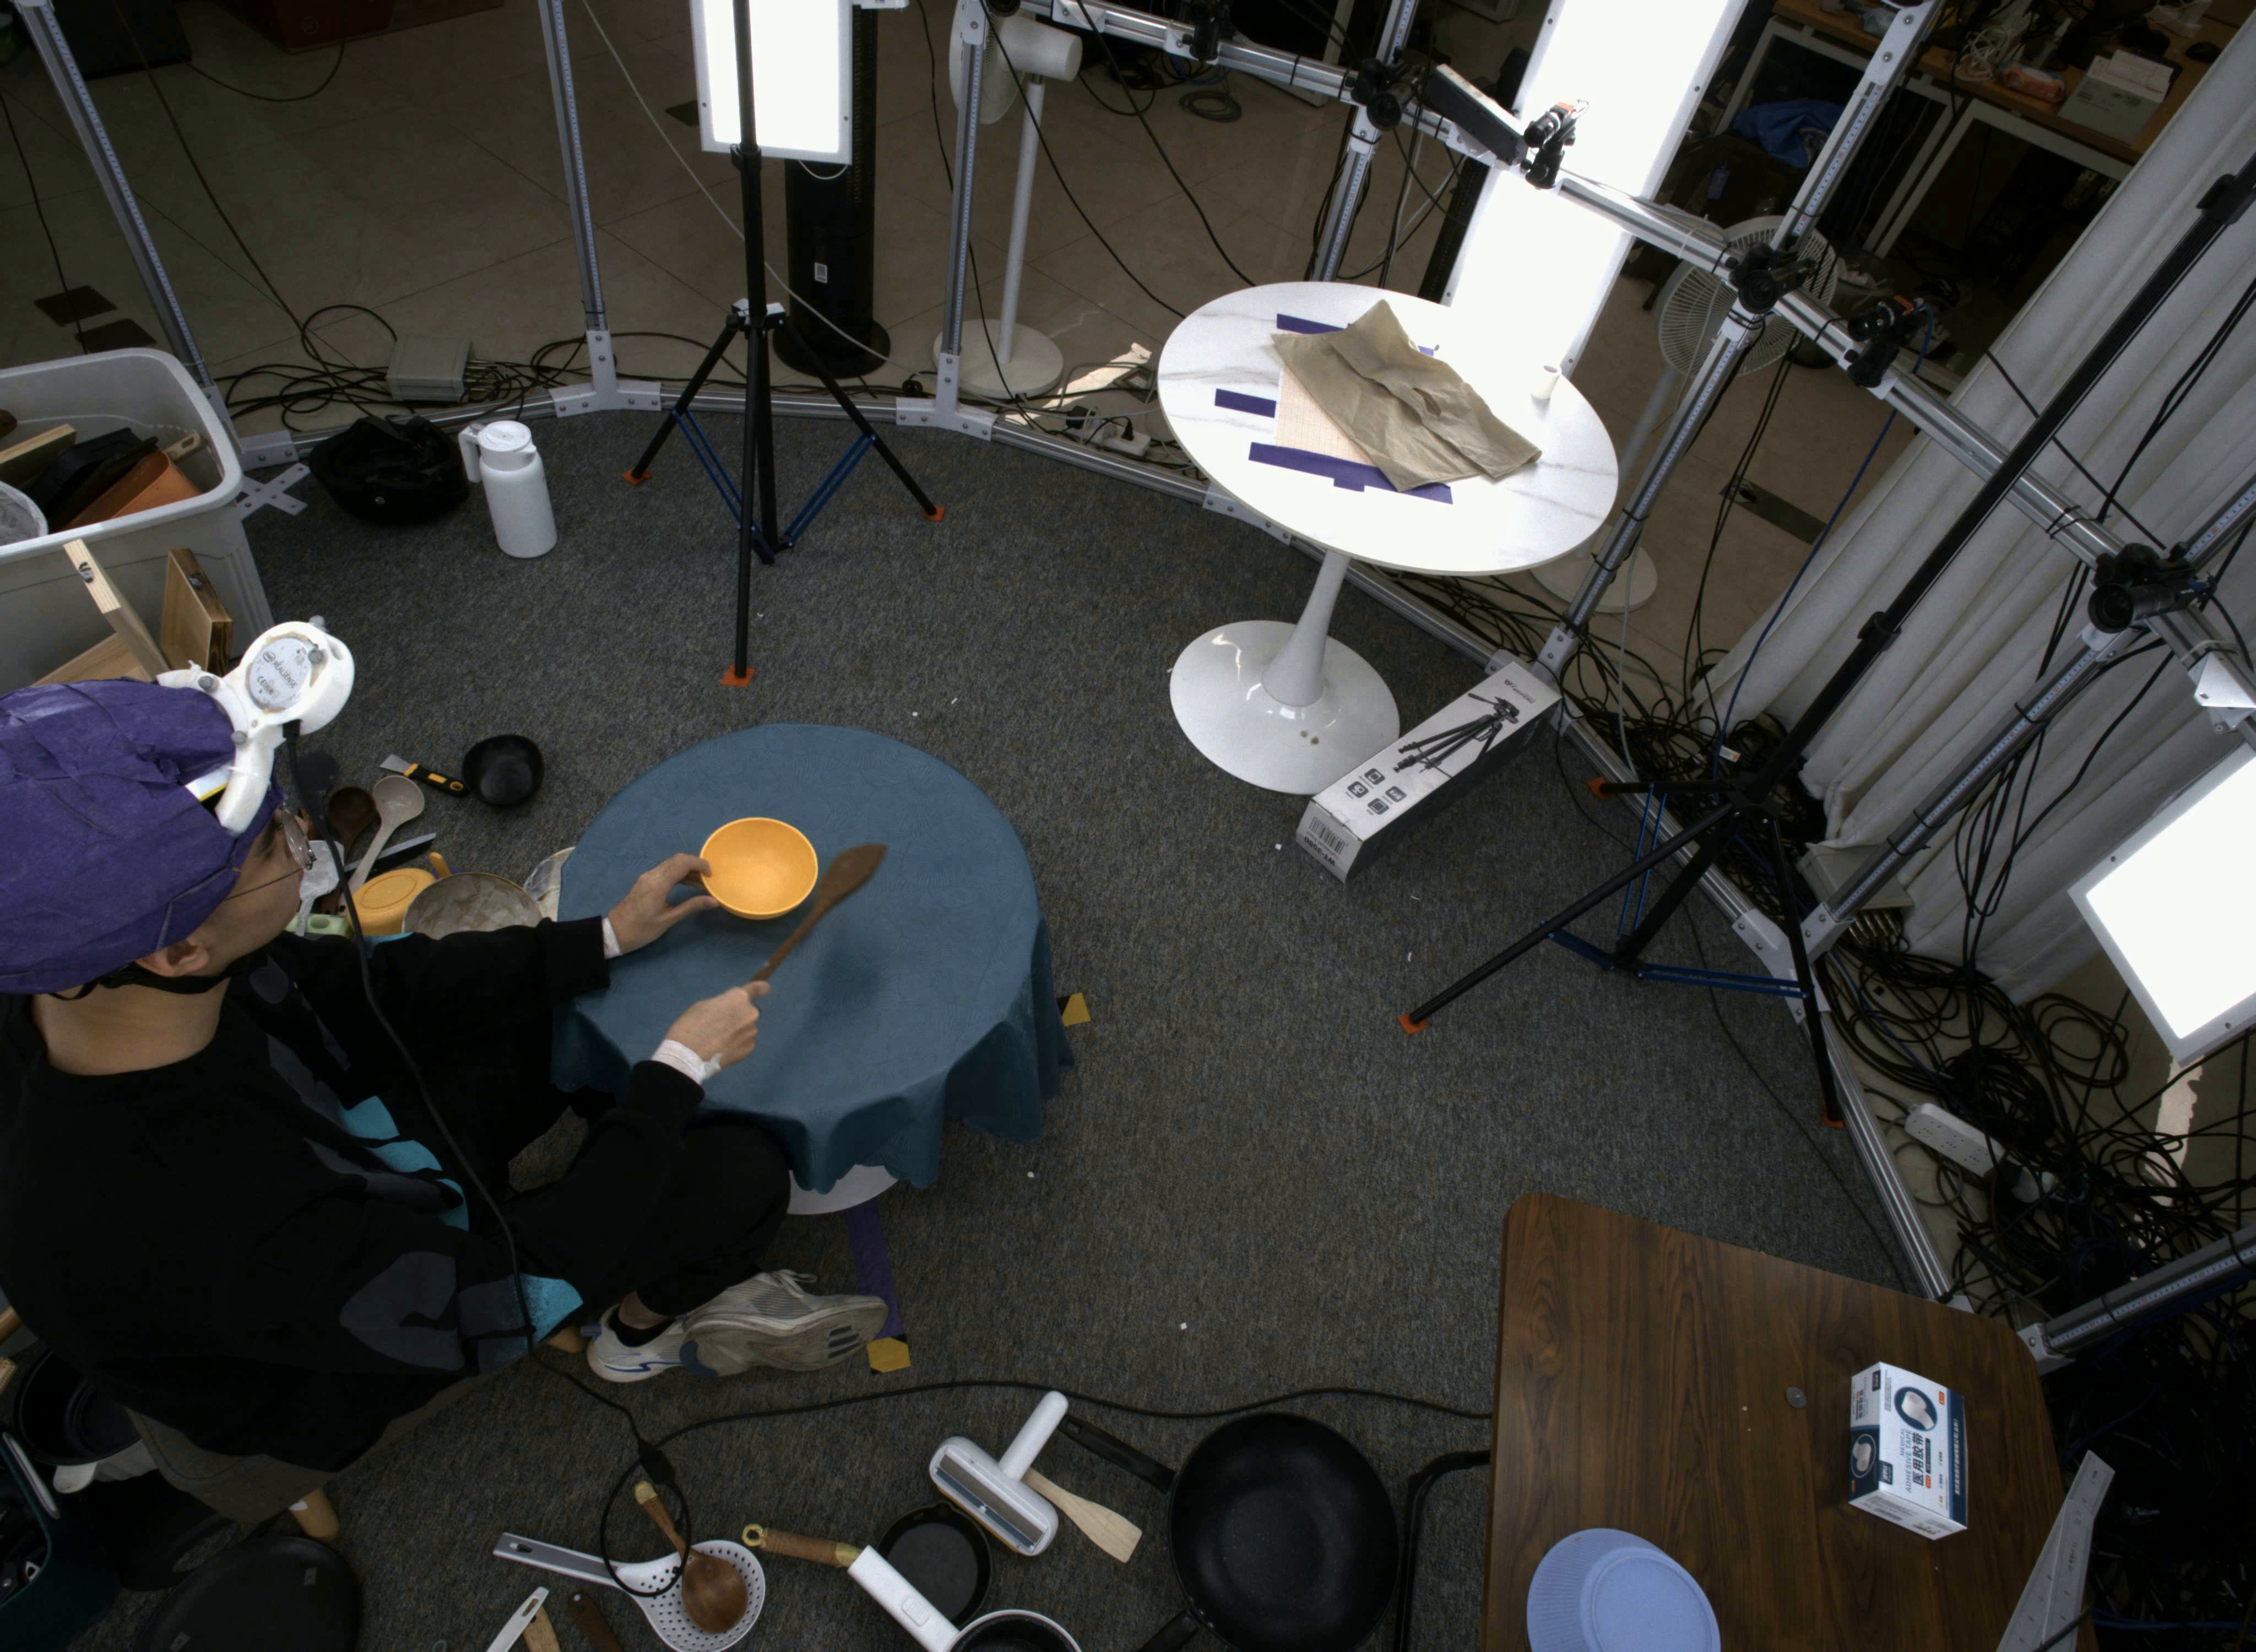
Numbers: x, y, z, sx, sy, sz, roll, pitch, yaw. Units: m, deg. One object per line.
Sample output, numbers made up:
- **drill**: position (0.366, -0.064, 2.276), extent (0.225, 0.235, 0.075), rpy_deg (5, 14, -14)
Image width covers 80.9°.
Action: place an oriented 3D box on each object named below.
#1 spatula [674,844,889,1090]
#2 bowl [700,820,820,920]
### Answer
- **spatula**: position (-0.390, 0.145, 1.456), extent (0.016, 0.093, 0.384), rpy_deg (59, 43, -26)
- **bowl**: position (-0.461, 0.065, 1.625), extent (0.145, 0.061, 0.142), rpy_deg (11, 50, -11)
